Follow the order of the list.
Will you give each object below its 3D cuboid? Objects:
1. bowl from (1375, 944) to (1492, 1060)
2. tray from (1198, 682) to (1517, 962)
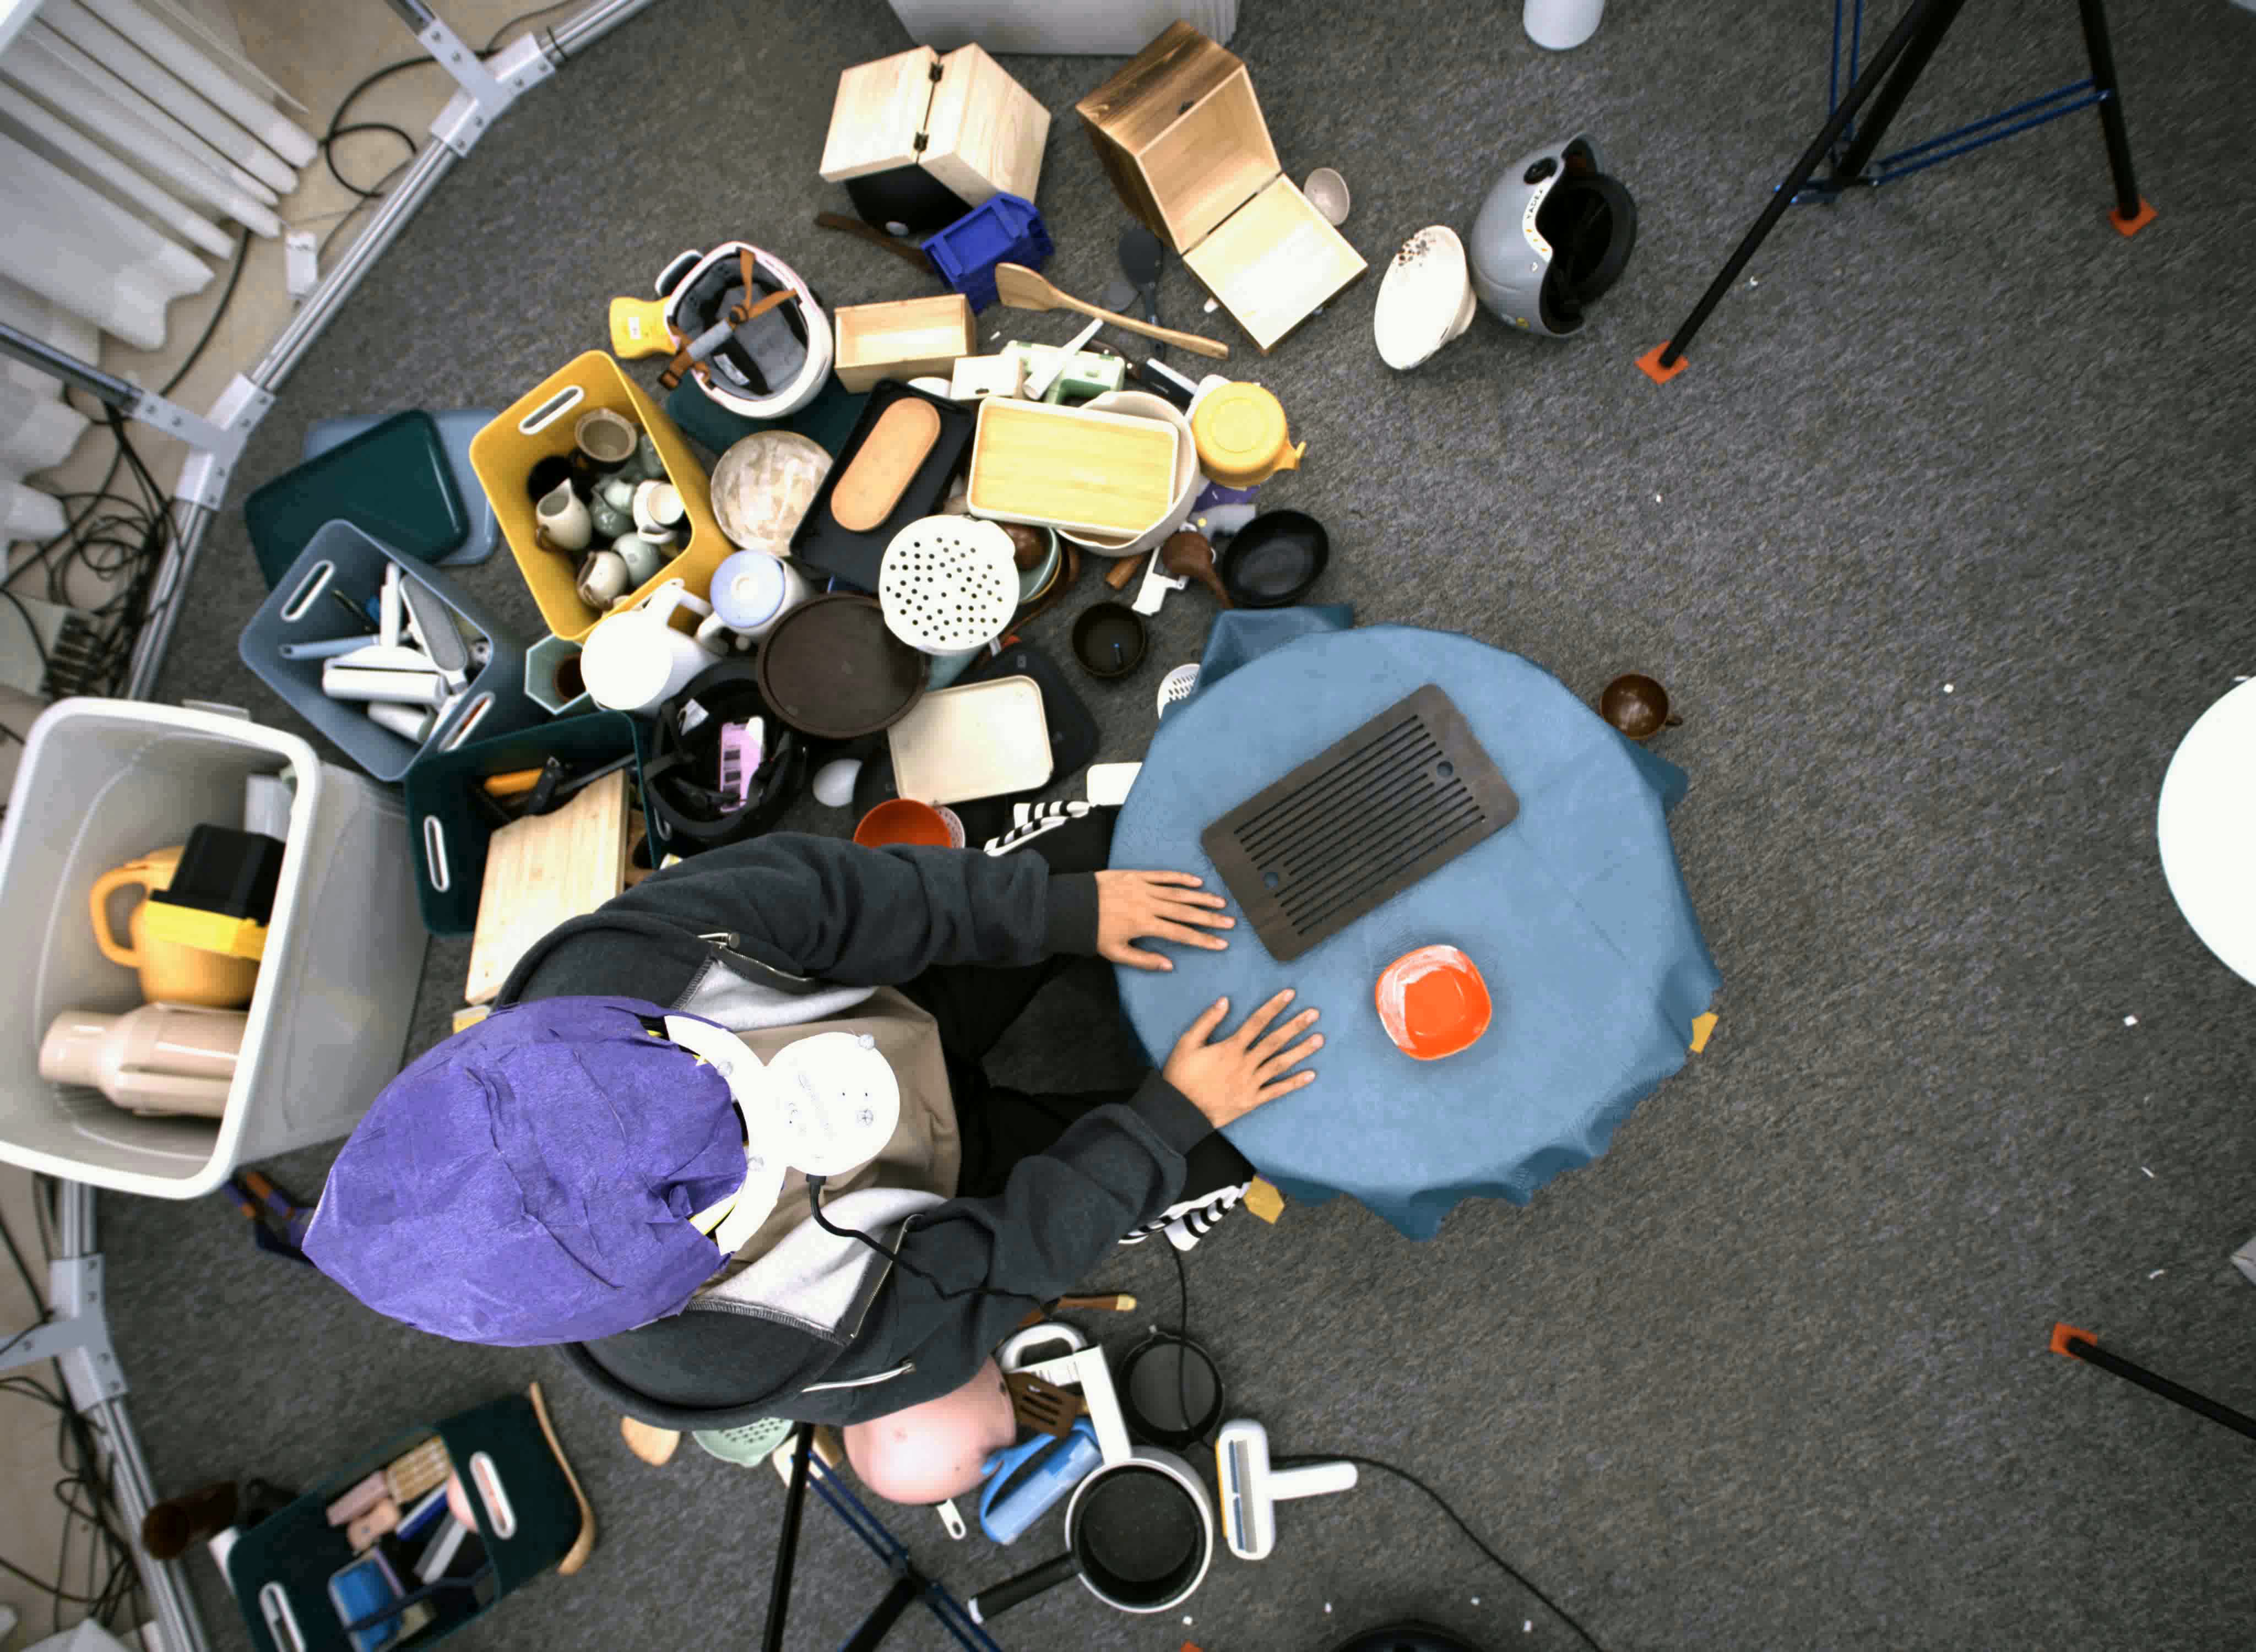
[{"bbox_3d":[0.311,0.178,1.417,0.119,0.051,0.118,-1,86,6],"label":"bowl"},{"bbox_3d":[0.241,-0.005,1.460,0.307,0.018,0.169,-33,82,7],"label":"tray"}]
